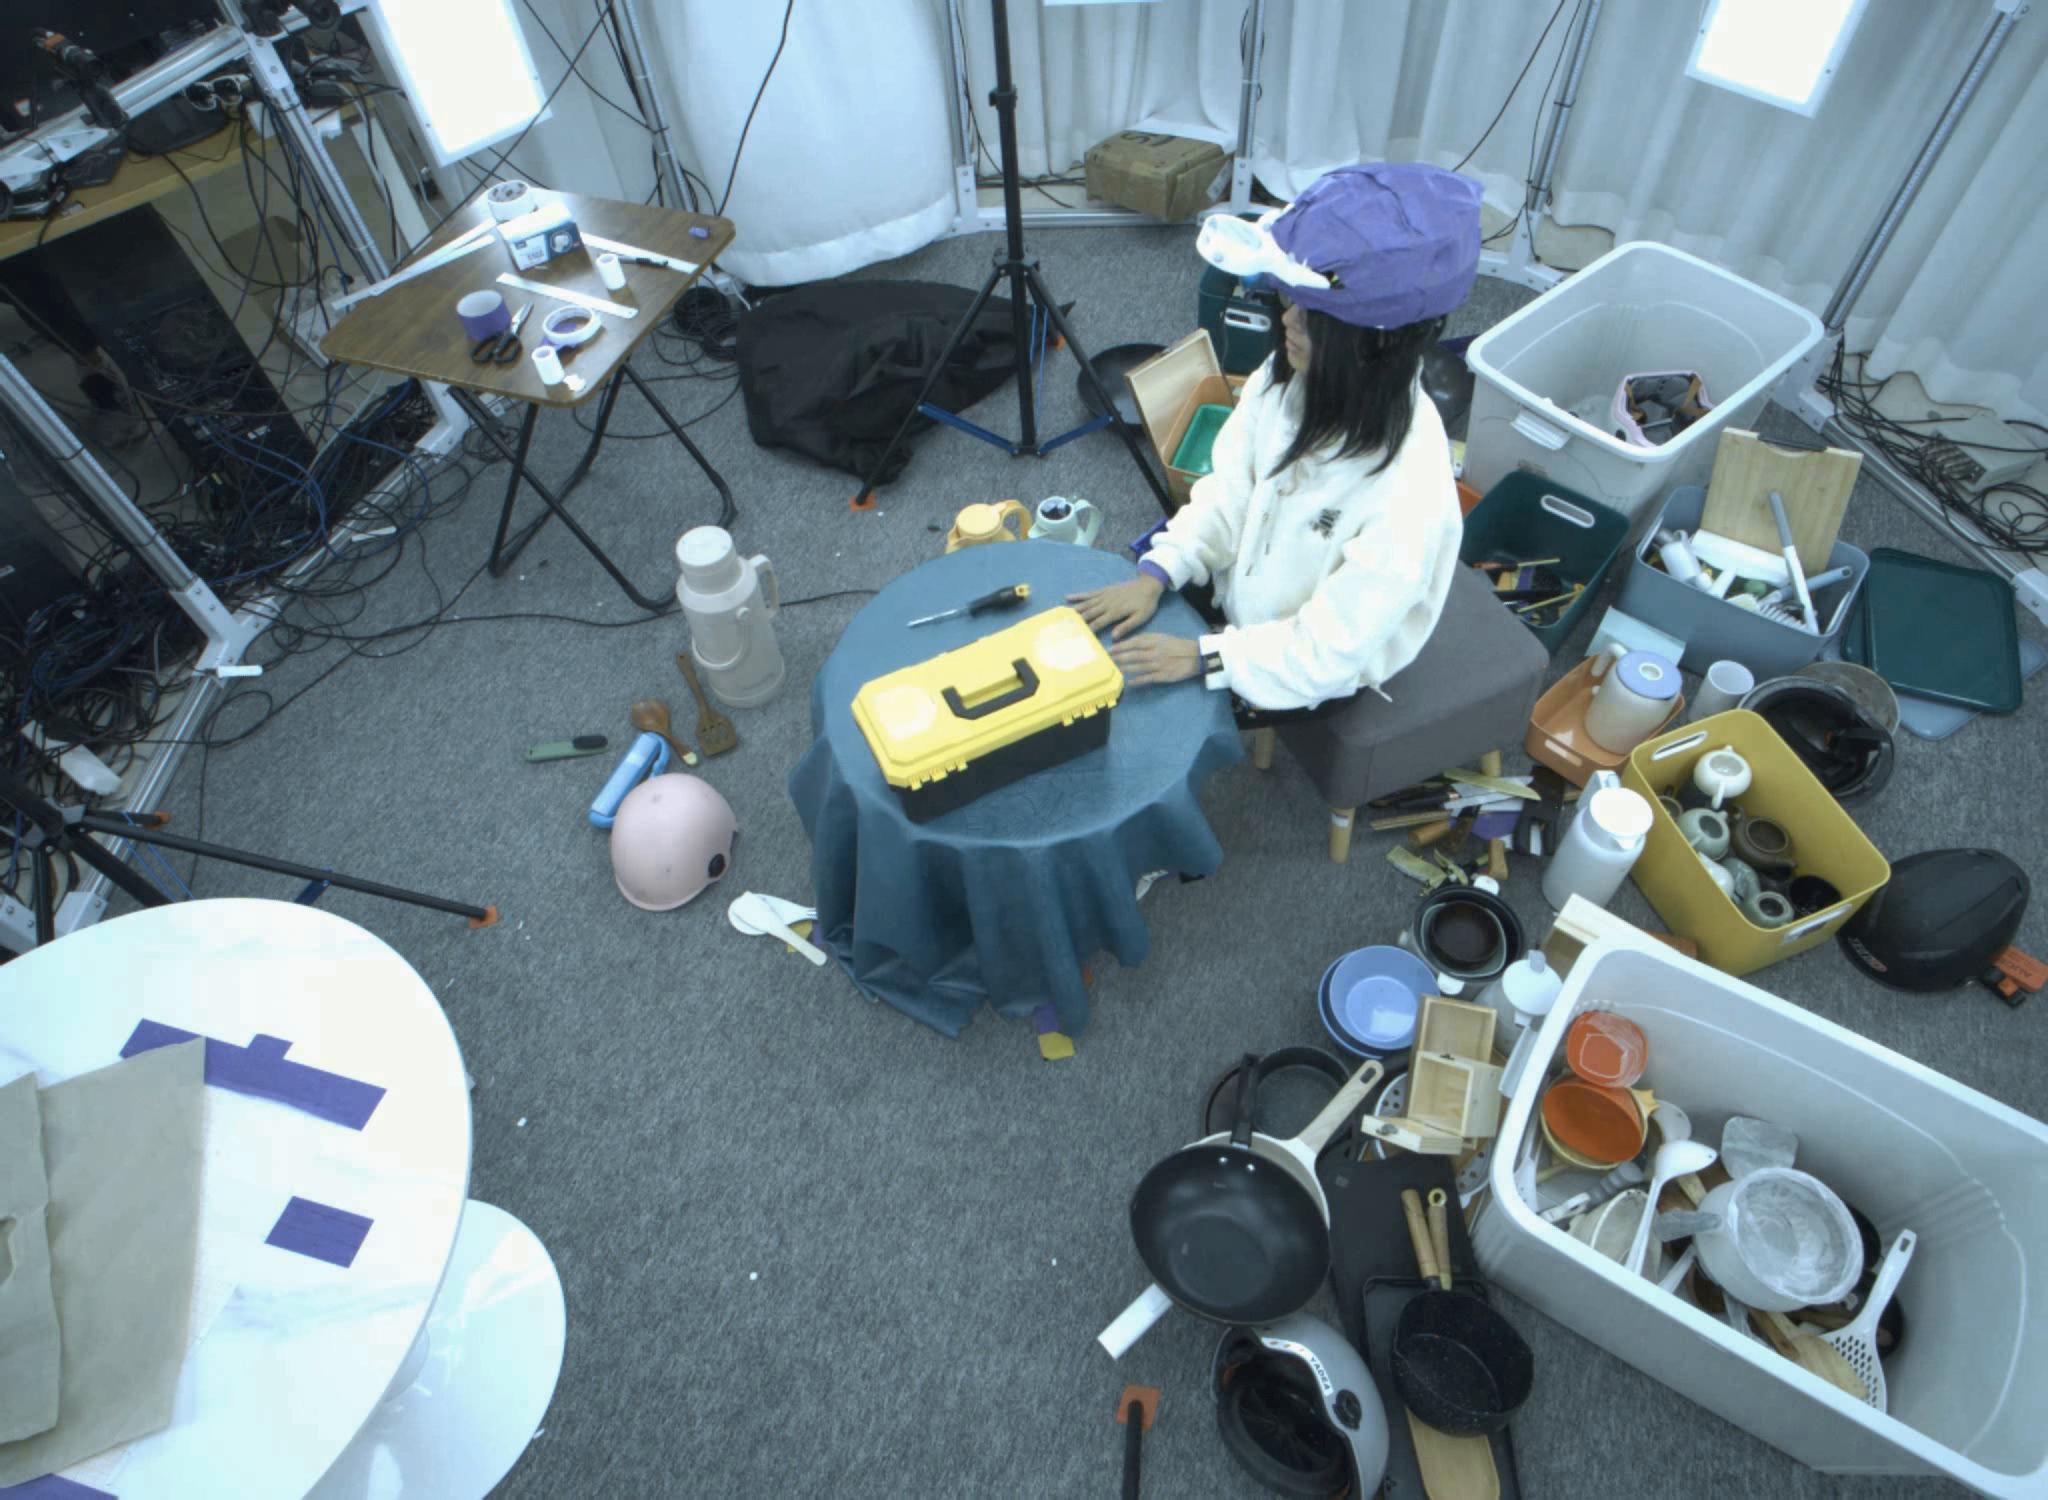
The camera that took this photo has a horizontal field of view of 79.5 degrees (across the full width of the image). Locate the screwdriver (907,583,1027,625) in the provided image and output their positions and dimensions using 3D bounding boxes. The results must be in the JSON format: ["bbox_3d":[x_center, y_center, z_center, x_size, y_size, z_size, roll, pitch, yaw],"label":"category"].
[{"bbox_3d":[-0.092,-0.228,1.932,0.197,0.032,0.031,-15,56,-7],"label":"screwdriver"}]

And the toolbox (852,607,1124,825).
[{"bbox_3d":[-0.047,-0.046,1.715,0.354,0.175,0.178,-23,57,-13],"label":"toolbox"}]
